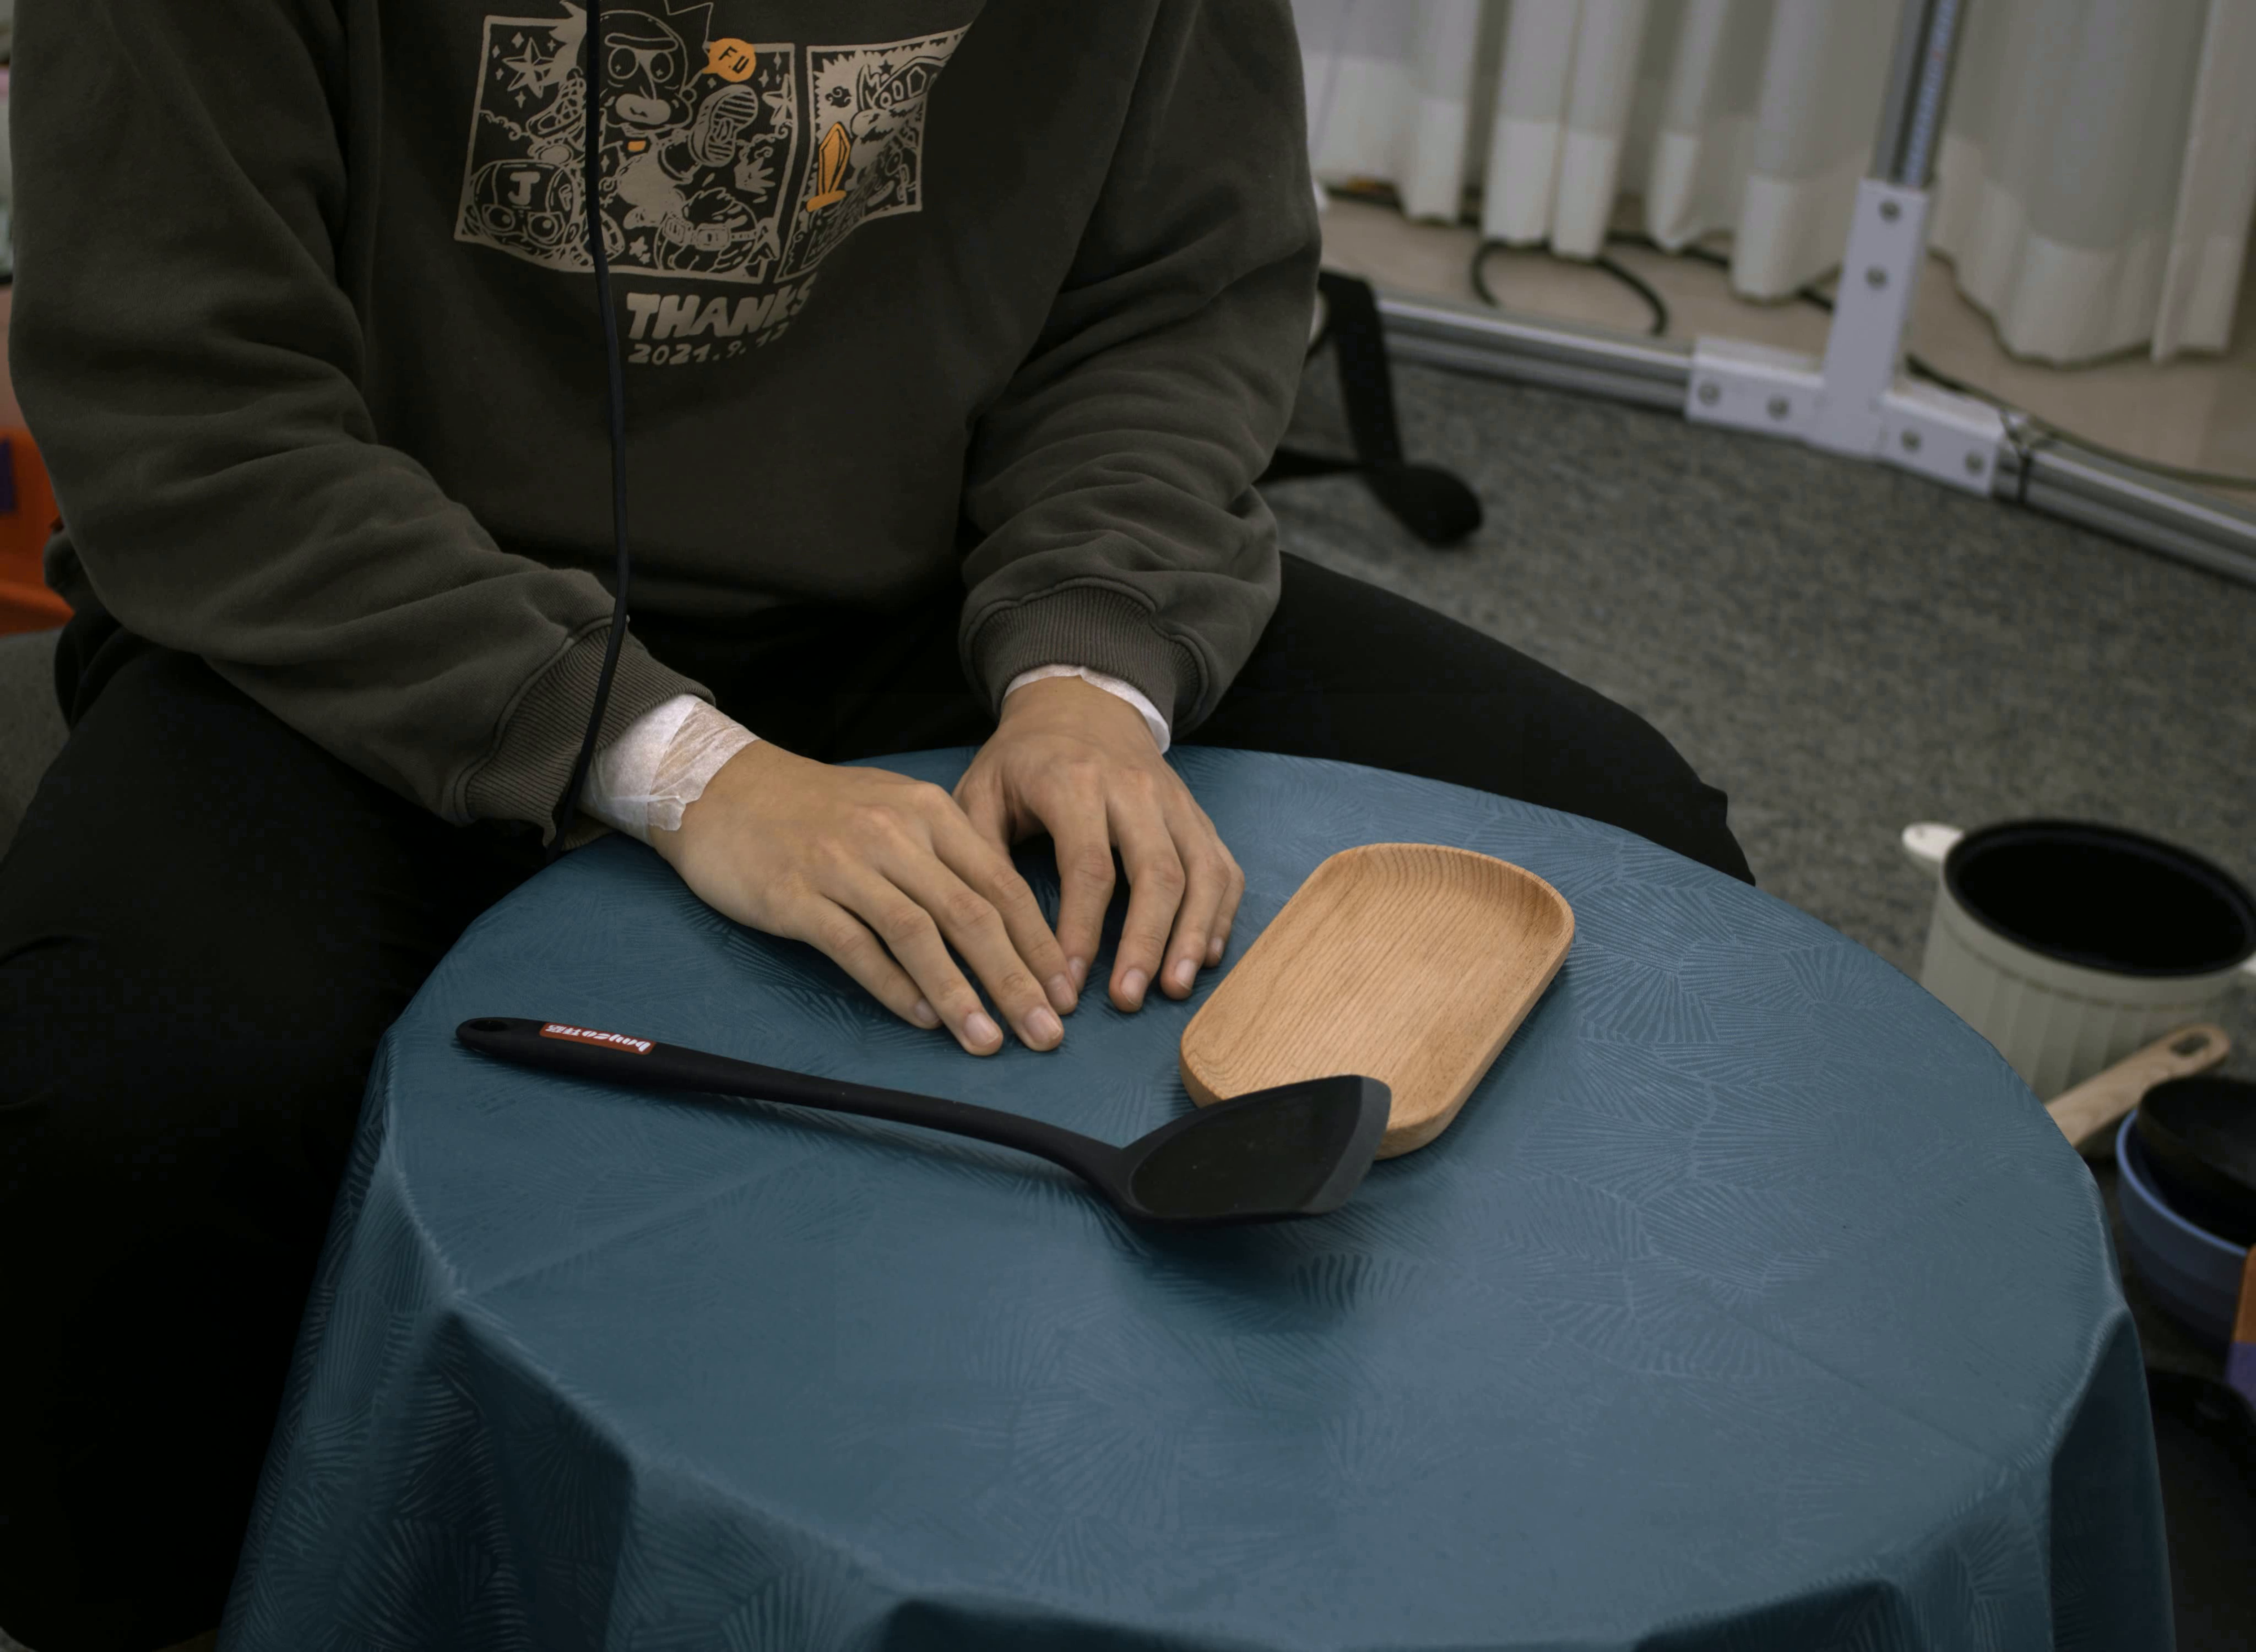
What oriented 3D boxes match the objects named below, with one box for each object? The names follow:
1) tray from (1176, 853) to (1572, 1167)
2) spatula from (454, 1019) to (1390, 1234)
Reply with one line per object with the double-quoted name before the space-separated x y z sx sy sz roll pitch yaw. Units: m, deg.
"tray" 0.091 0.065 1.924 0.102 0.020 0.231 15 29 17
"spatula" -0.075 0.091 1.811 0.326 0.040 0.100 12 25 11
